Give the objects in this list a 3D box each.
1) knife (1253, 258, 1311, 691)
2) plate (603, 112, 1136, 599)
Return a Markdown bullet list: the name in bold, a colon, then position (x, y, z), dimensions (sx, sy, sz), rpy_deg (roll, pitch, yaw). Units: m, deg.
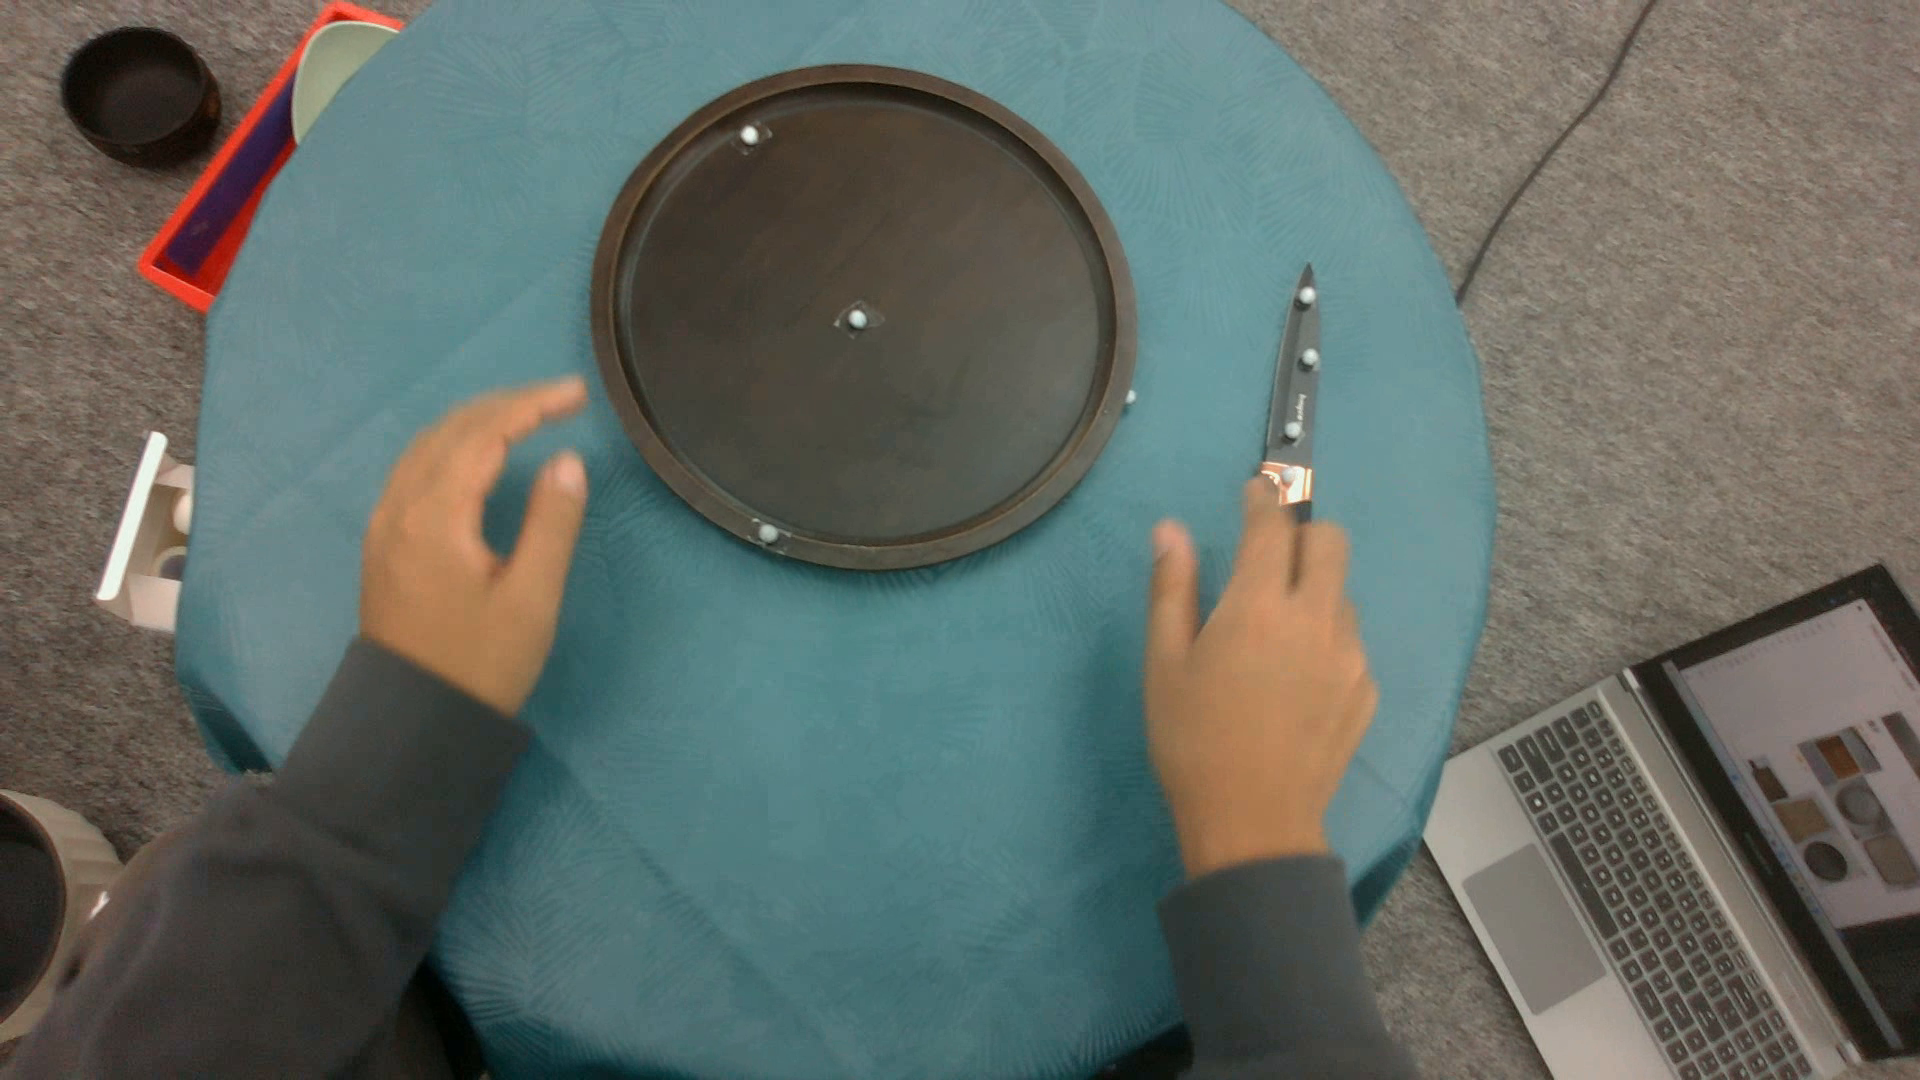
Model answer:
- **knife**: position (0.157, -0.037, 0.668), dimensions (0.026, 0.017, 0.226), rpy_deg (6, 71, 3)
- **plate**: position (-0.042, -0.093, 0.663), dimensions (0.255, 0.029, 0.255), rpy_deg (2, 74, -5)
